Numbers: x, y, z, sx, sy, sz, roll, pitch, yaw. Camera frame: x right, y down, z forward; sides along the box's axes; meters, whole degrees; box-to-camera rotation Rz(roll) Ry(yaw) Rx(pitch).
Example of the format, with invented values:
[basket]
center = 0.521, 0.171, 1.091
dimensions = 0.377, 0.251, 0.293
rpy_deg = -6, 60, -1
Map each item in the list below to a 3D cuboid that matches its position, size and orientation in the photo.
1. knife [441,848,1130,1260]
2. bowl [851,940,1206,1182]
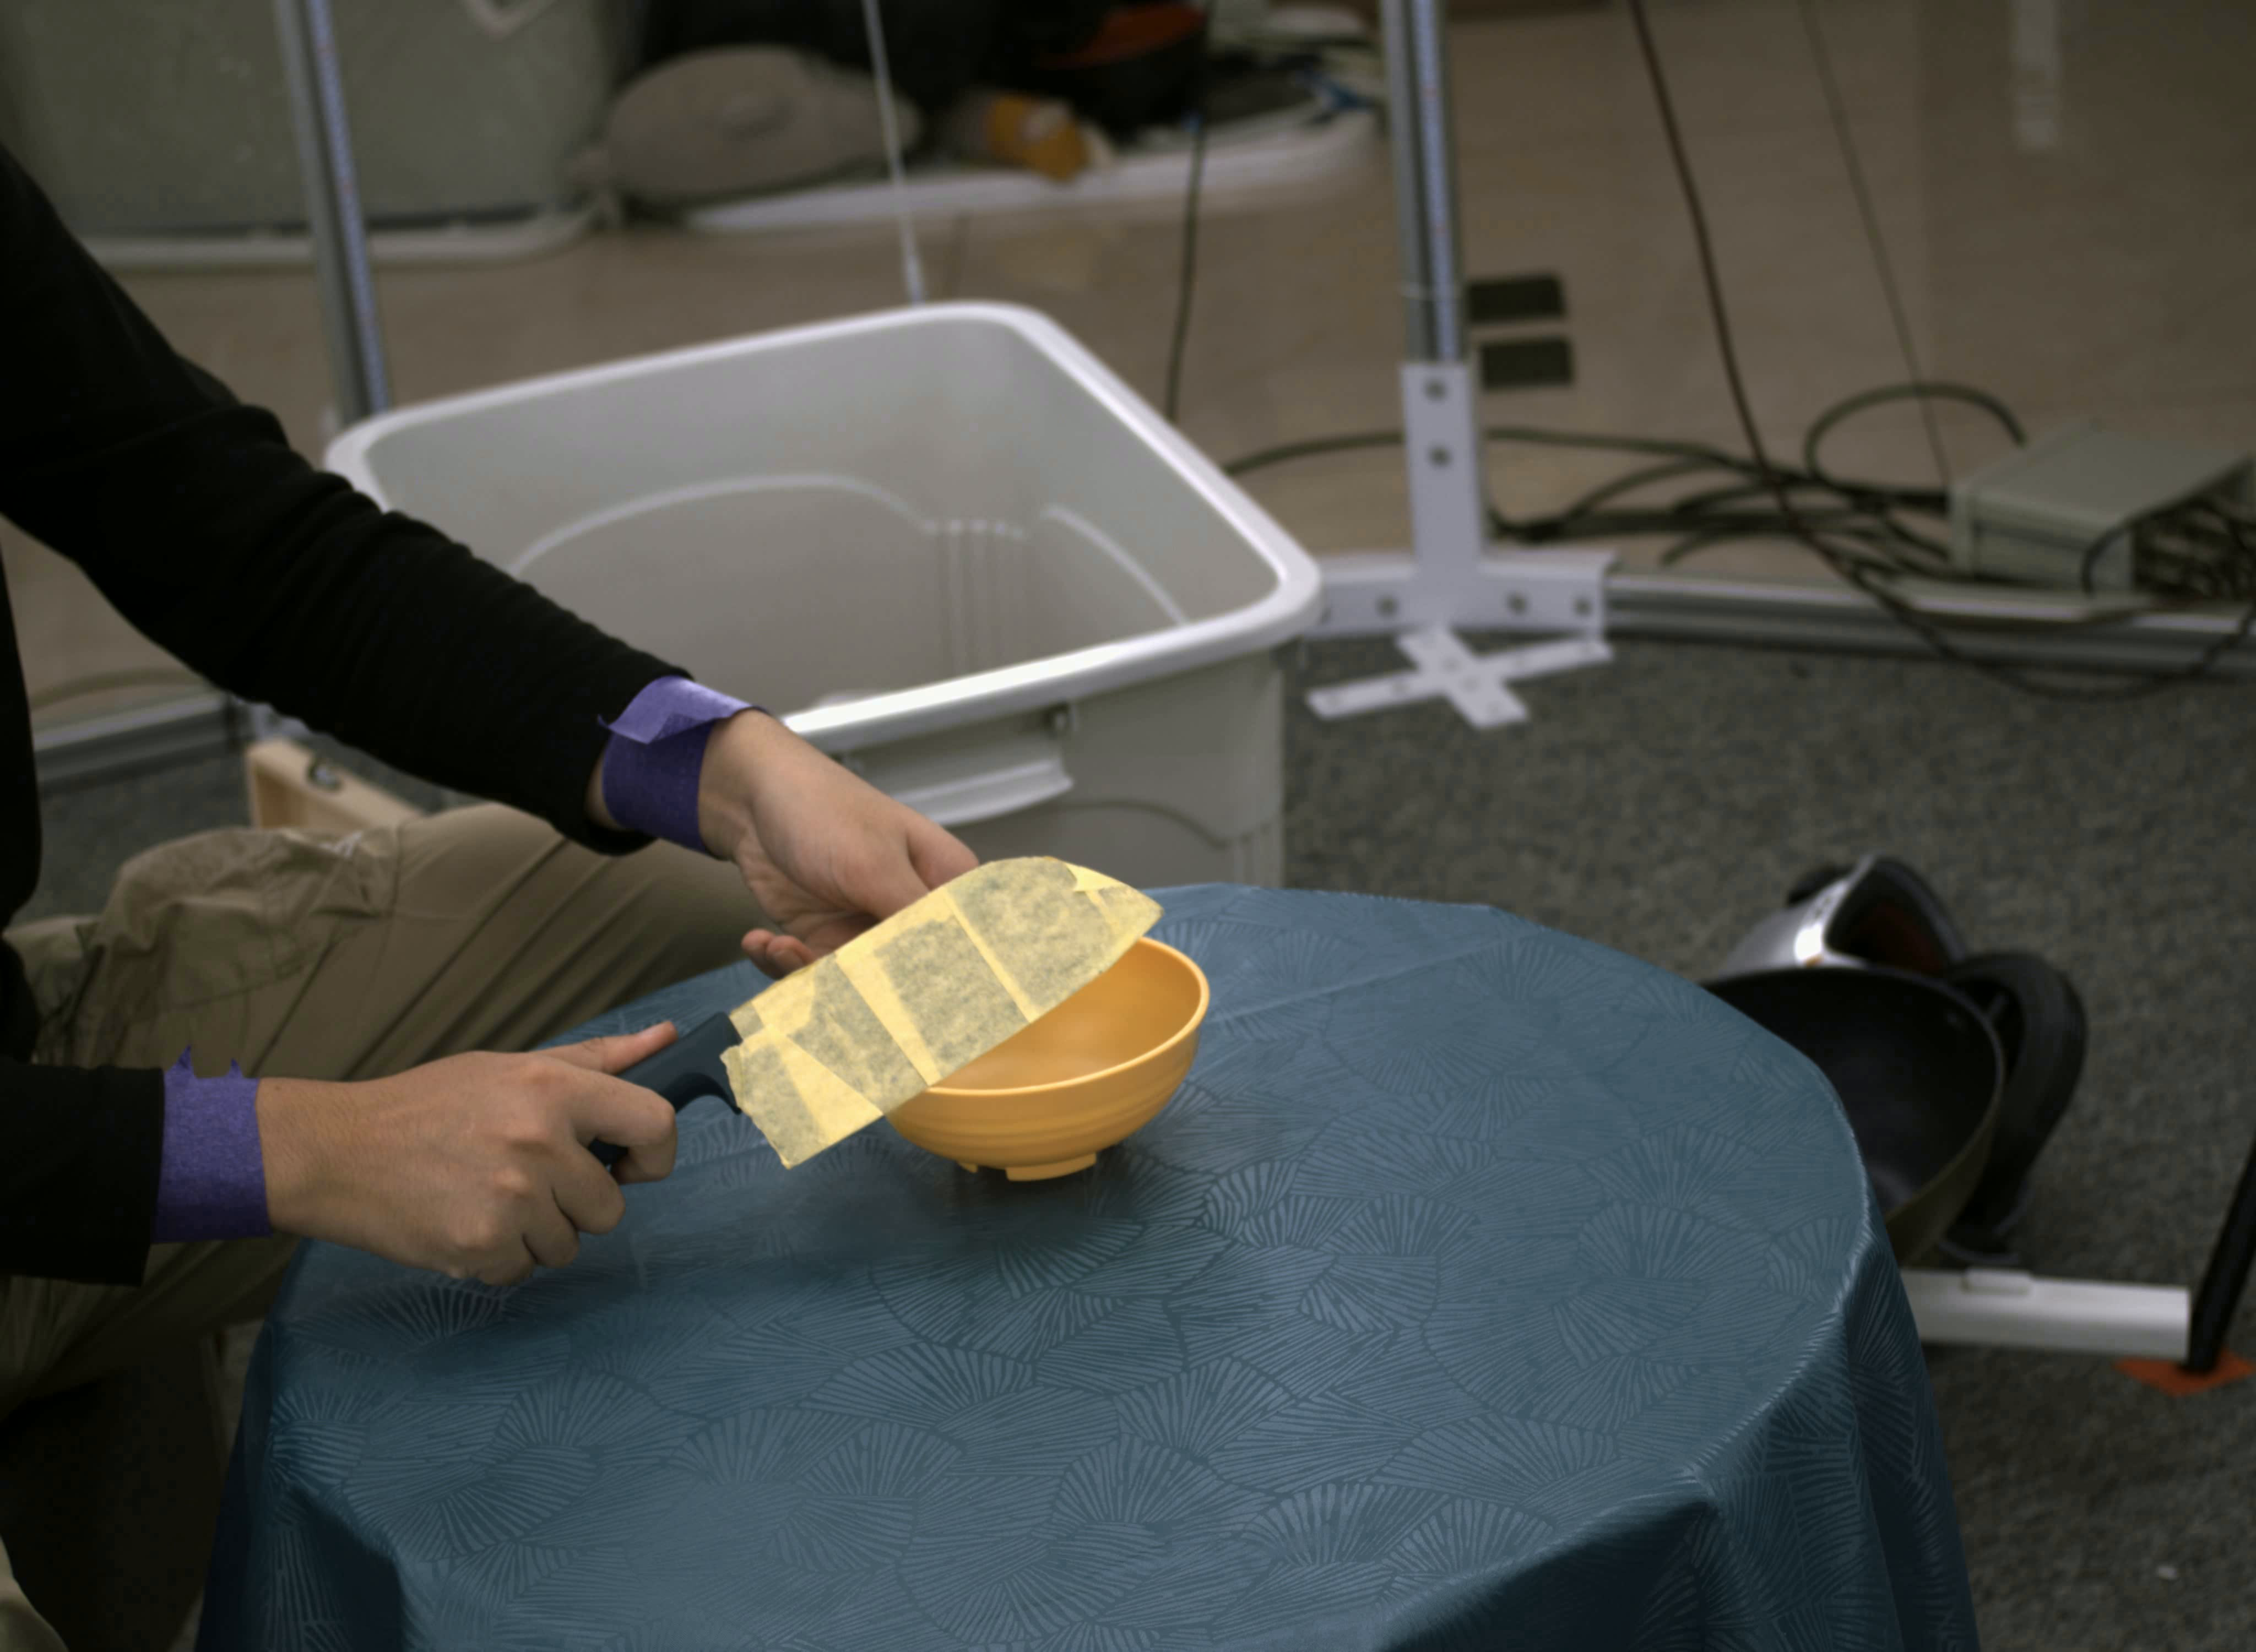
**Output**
[knife]
center = -0.125, 0.090, 2.124
dimensions = 0.289, 0.027, 0.080
rpy_deg = -30, 57, -5
[bowl]
center = -0.040, 0.097, 2.174
dimensions = 0.145, 0.061, 0.143
rpy_deg = -4, 23, 2
